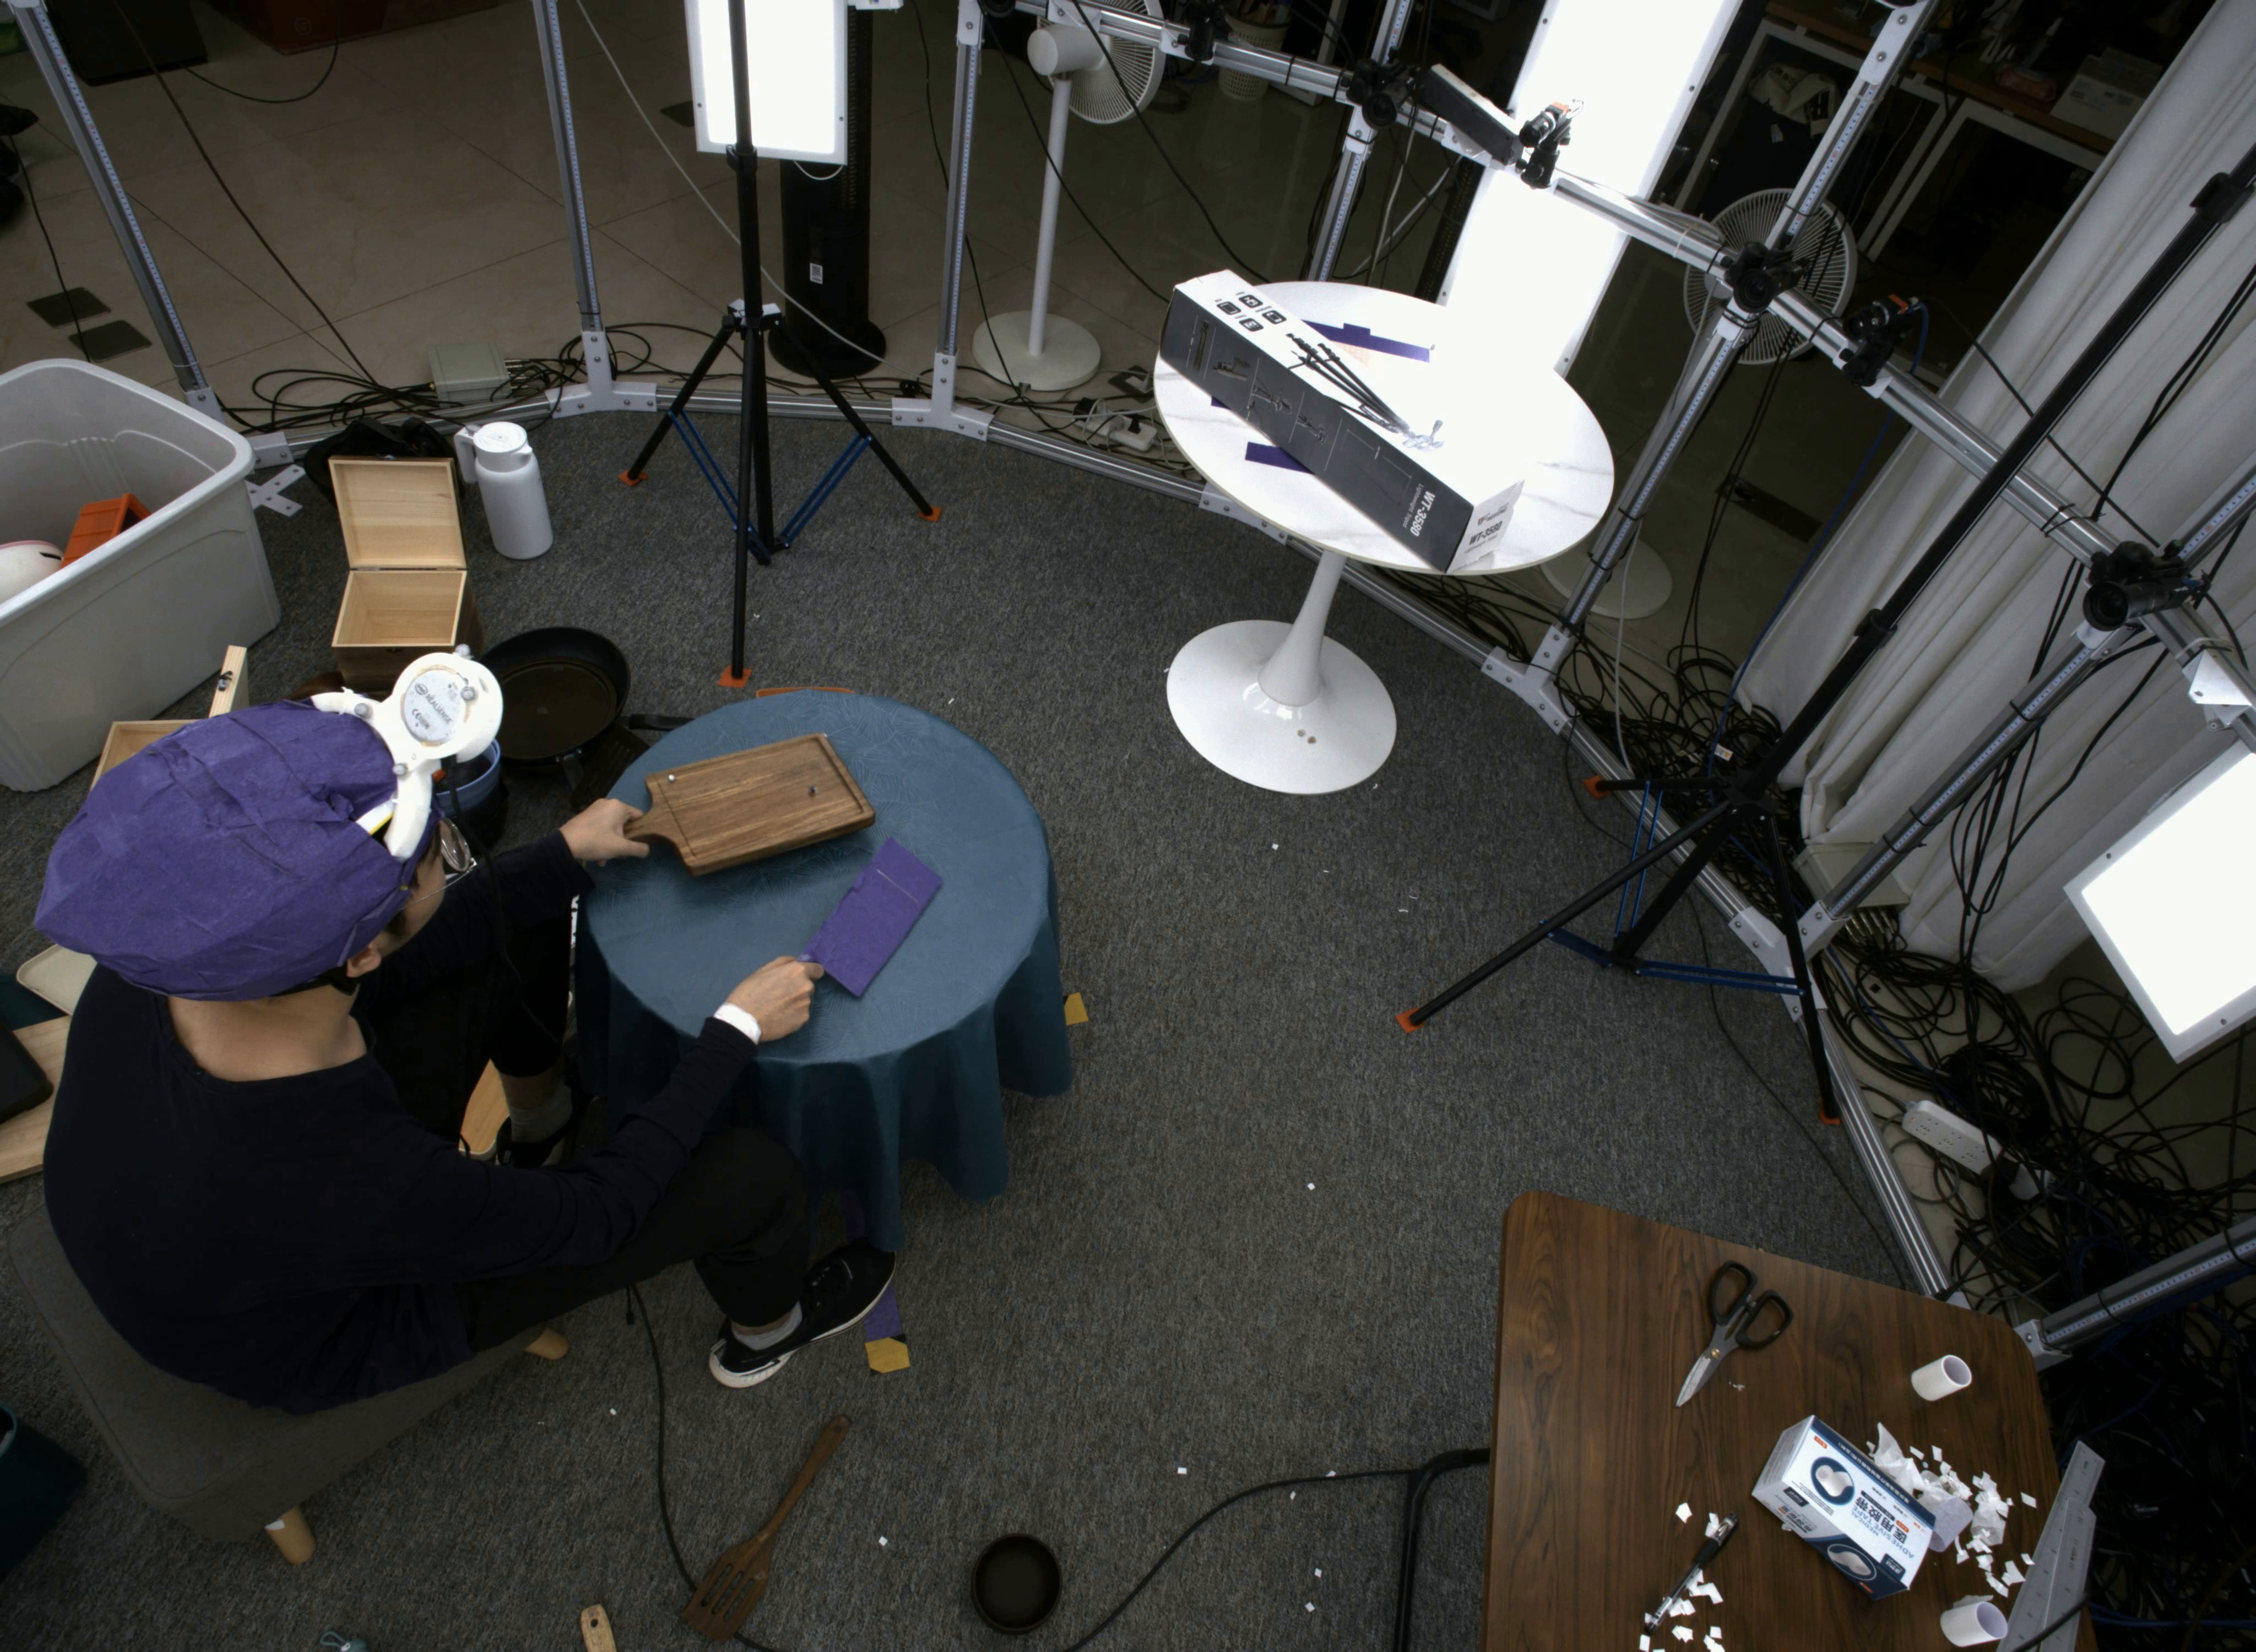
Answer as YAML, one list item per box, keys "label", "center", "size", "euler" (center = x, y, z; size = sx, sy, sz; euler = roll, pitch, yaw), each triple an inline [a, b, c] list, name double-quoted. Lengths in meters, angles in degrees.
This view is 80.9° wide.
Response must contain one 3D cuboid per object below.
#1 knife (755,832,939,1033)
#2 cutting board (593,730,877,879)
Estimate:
- label: "knife"
  center: [-0.337, 0.143, 1.613]
  size: [0.105, 0.032, 0.313]
  euler: [42, 54, -13]
- label: "cutting board"
  center: [-0.525, -0.022, 1.683]
  size: [0.354, 0.024, 0.194]
  euler: [-18, 51, -29]
